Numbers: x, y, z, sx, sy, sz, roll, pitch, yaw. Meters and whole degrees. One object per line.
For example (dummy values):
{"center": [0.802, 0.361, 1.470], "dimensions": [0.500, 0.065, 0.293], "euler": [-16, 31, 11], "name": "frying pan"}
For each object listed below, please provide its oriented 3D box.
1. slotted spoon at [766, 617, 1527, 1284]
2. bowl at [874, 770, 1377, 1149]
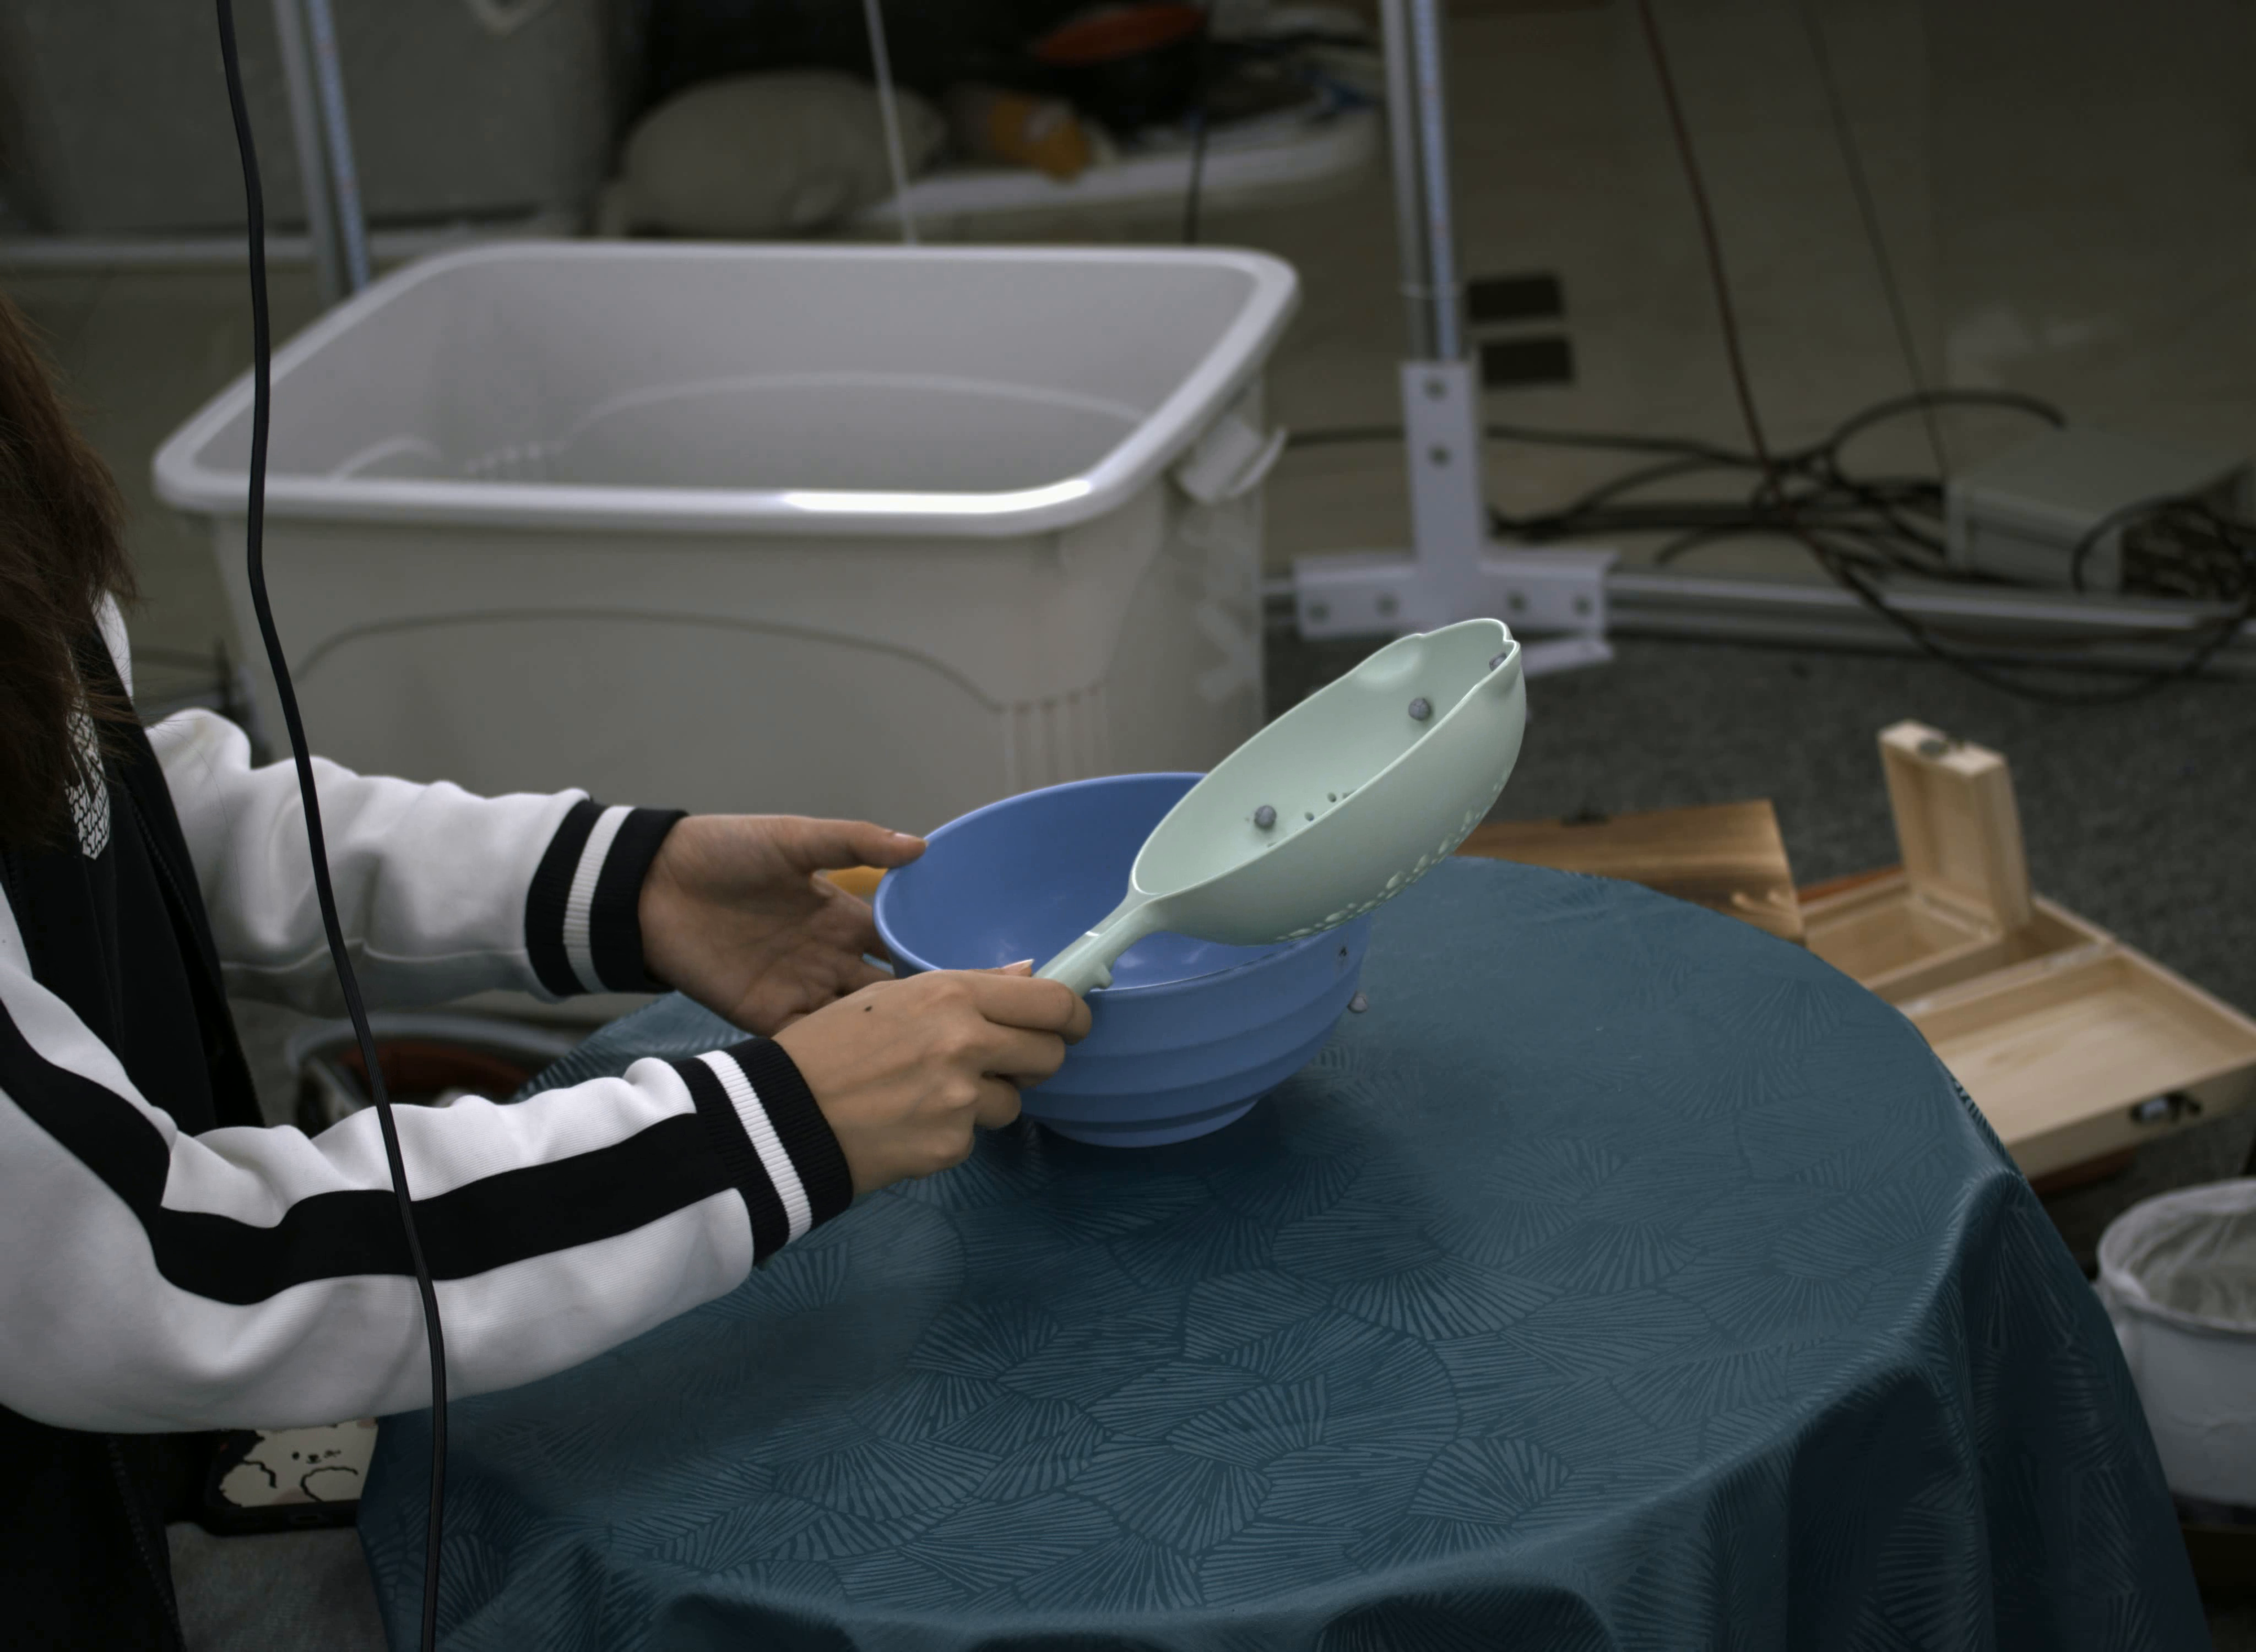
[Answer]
{"center": [0.003, 0.044, 2.084], "dimensions": [0.357, 0.076, 0.169], "euler": [-31, 11, -12], "name": "slotted spoon"}
{"center": [0.004, 0.063, 2.198], "dimensions": [0.196, 0.097, 0.193], "euler": [-5, 26, 3], "name": "bowl"}
